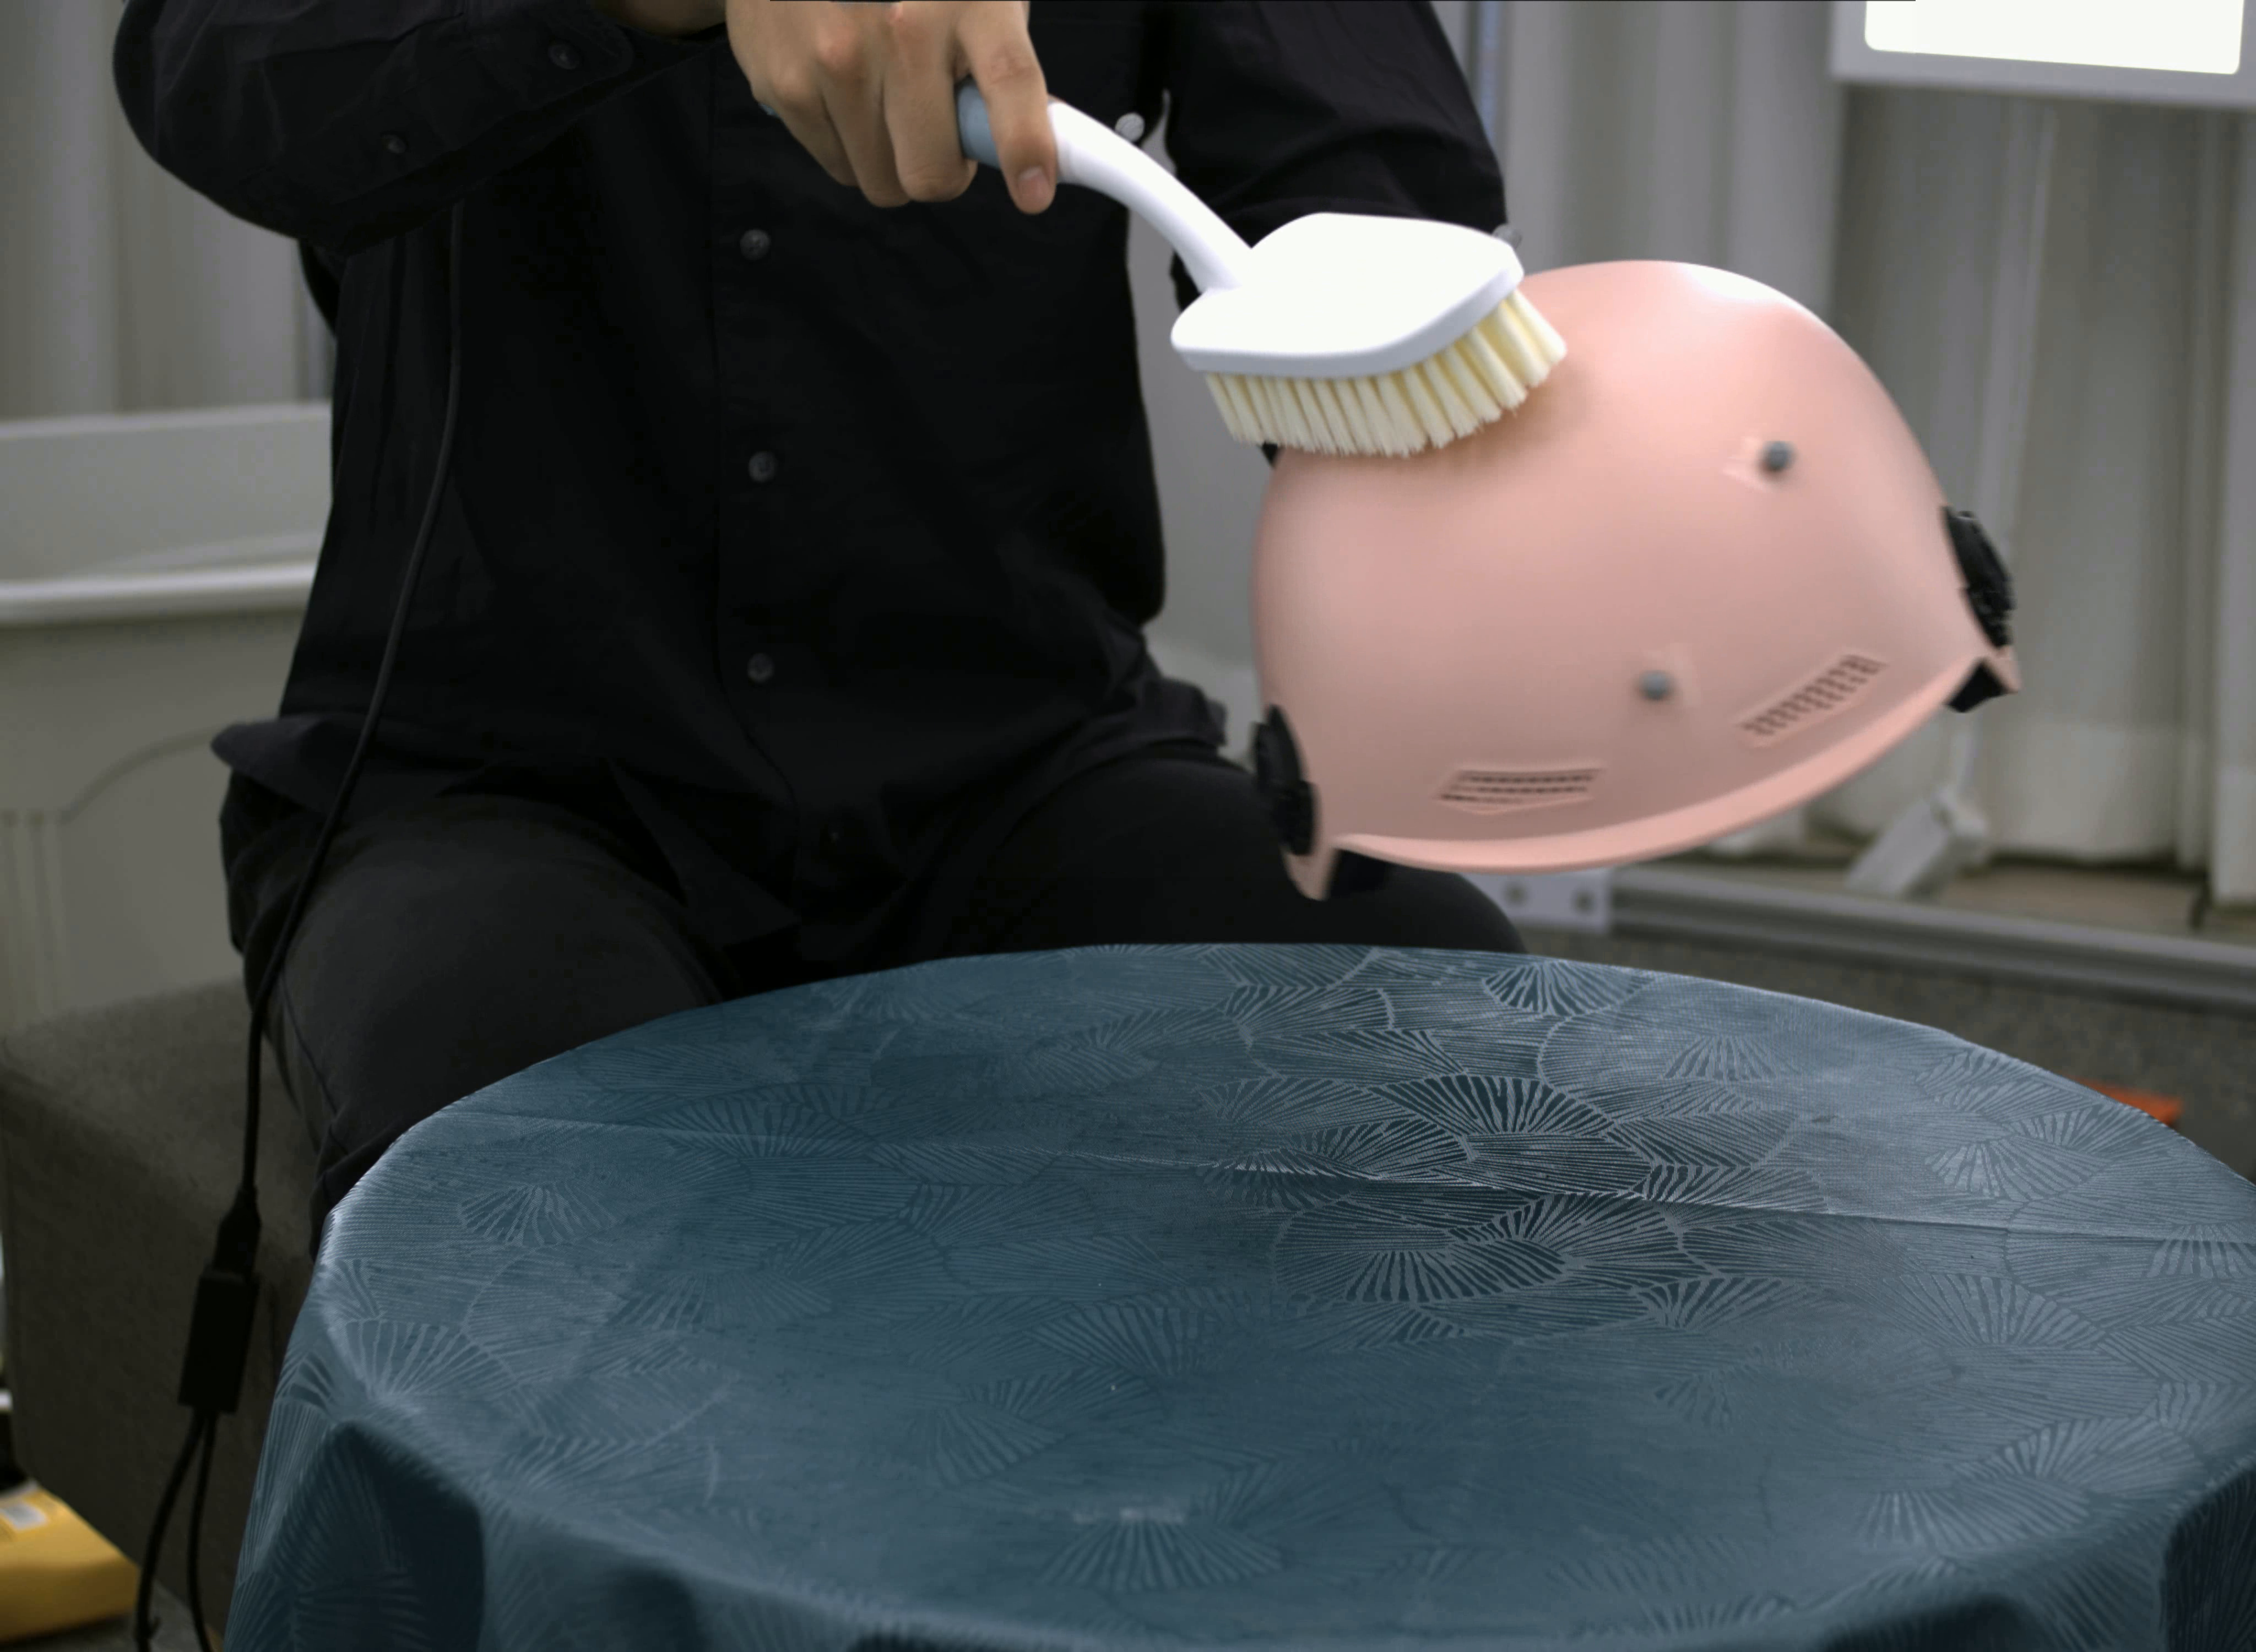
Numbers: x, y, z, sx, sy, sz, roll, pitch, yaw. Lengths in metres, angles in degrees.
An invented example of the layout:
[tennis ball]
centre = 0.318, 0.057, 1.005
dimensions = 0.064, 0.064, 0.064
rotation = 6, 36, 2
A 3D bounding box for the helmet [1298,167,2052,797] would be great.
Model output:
[helmet]
centre = 0.153, -0.115, 1.607
dimensions = 0.233, 0.160, 0.264
rotation = -16, 15, 2

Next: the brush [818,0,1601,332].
[brush]
centre = 0.024, -0.209, 1.623
dimensions = 0.083, 0.085, 0.321
rotation = -5, 20, -44
